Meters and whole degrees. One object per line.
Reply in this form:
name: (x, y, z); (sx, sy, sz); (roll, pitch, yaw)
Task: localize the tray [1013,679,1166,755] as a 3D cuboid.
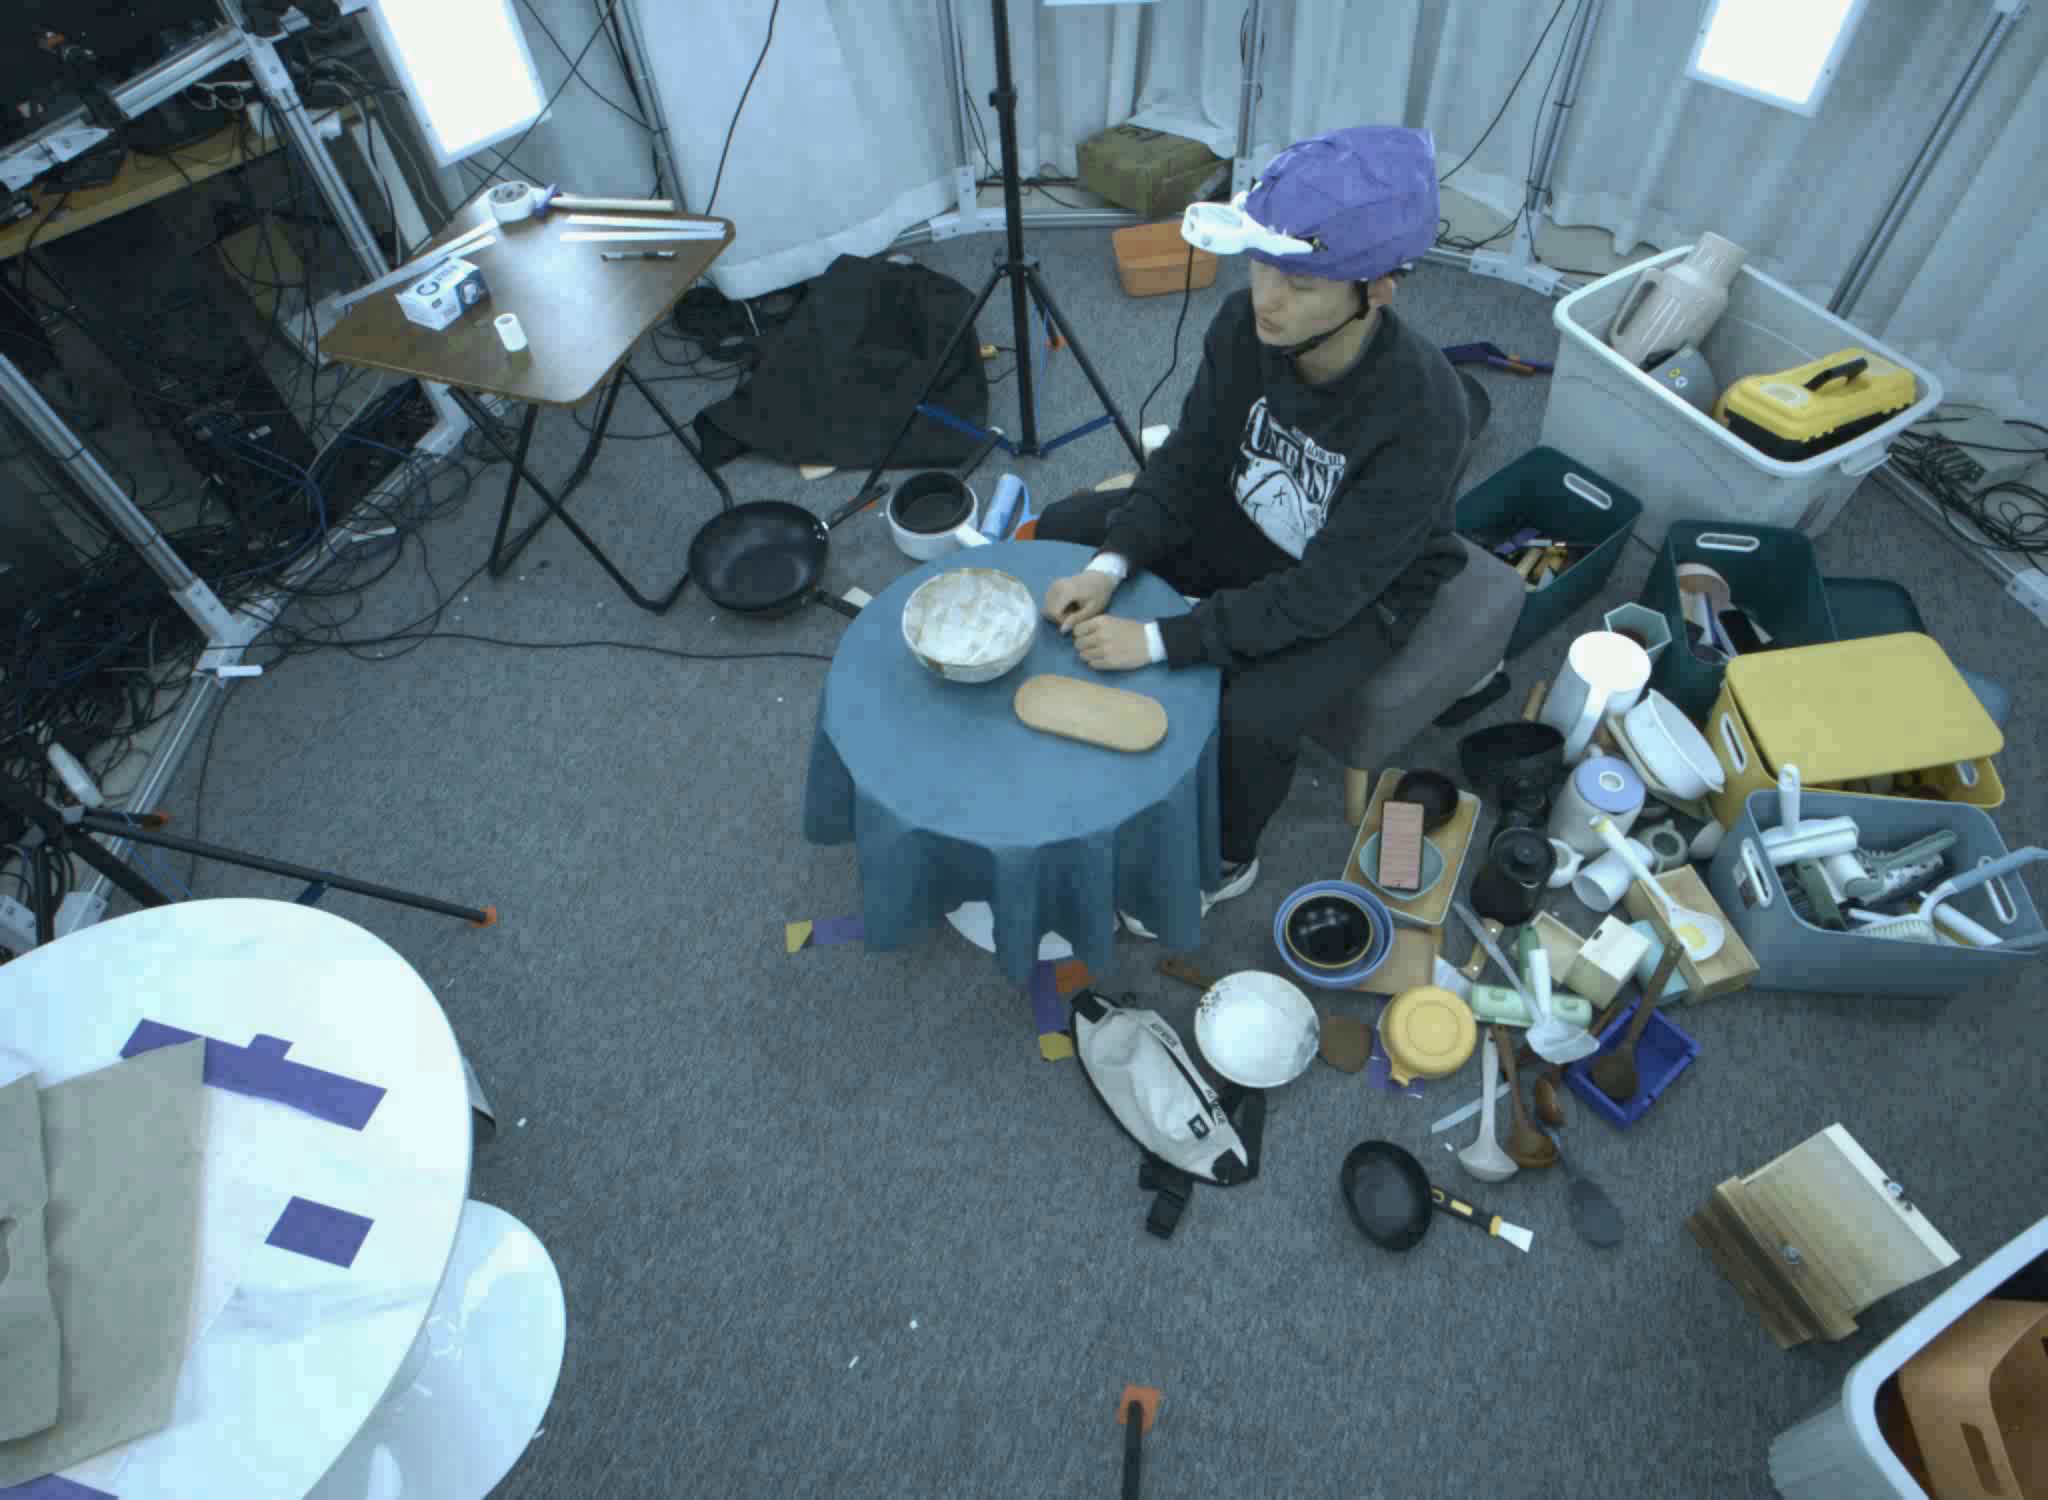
tray: (0.096, -0.049, 1.820); (0.229, 0.020, 0.101); (13, 54, 13)

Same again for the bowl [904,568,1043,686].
bowl: (-0.073, -0.168, 1.861); (0.214, 0.095, 0.212); (0, 54, 2)
